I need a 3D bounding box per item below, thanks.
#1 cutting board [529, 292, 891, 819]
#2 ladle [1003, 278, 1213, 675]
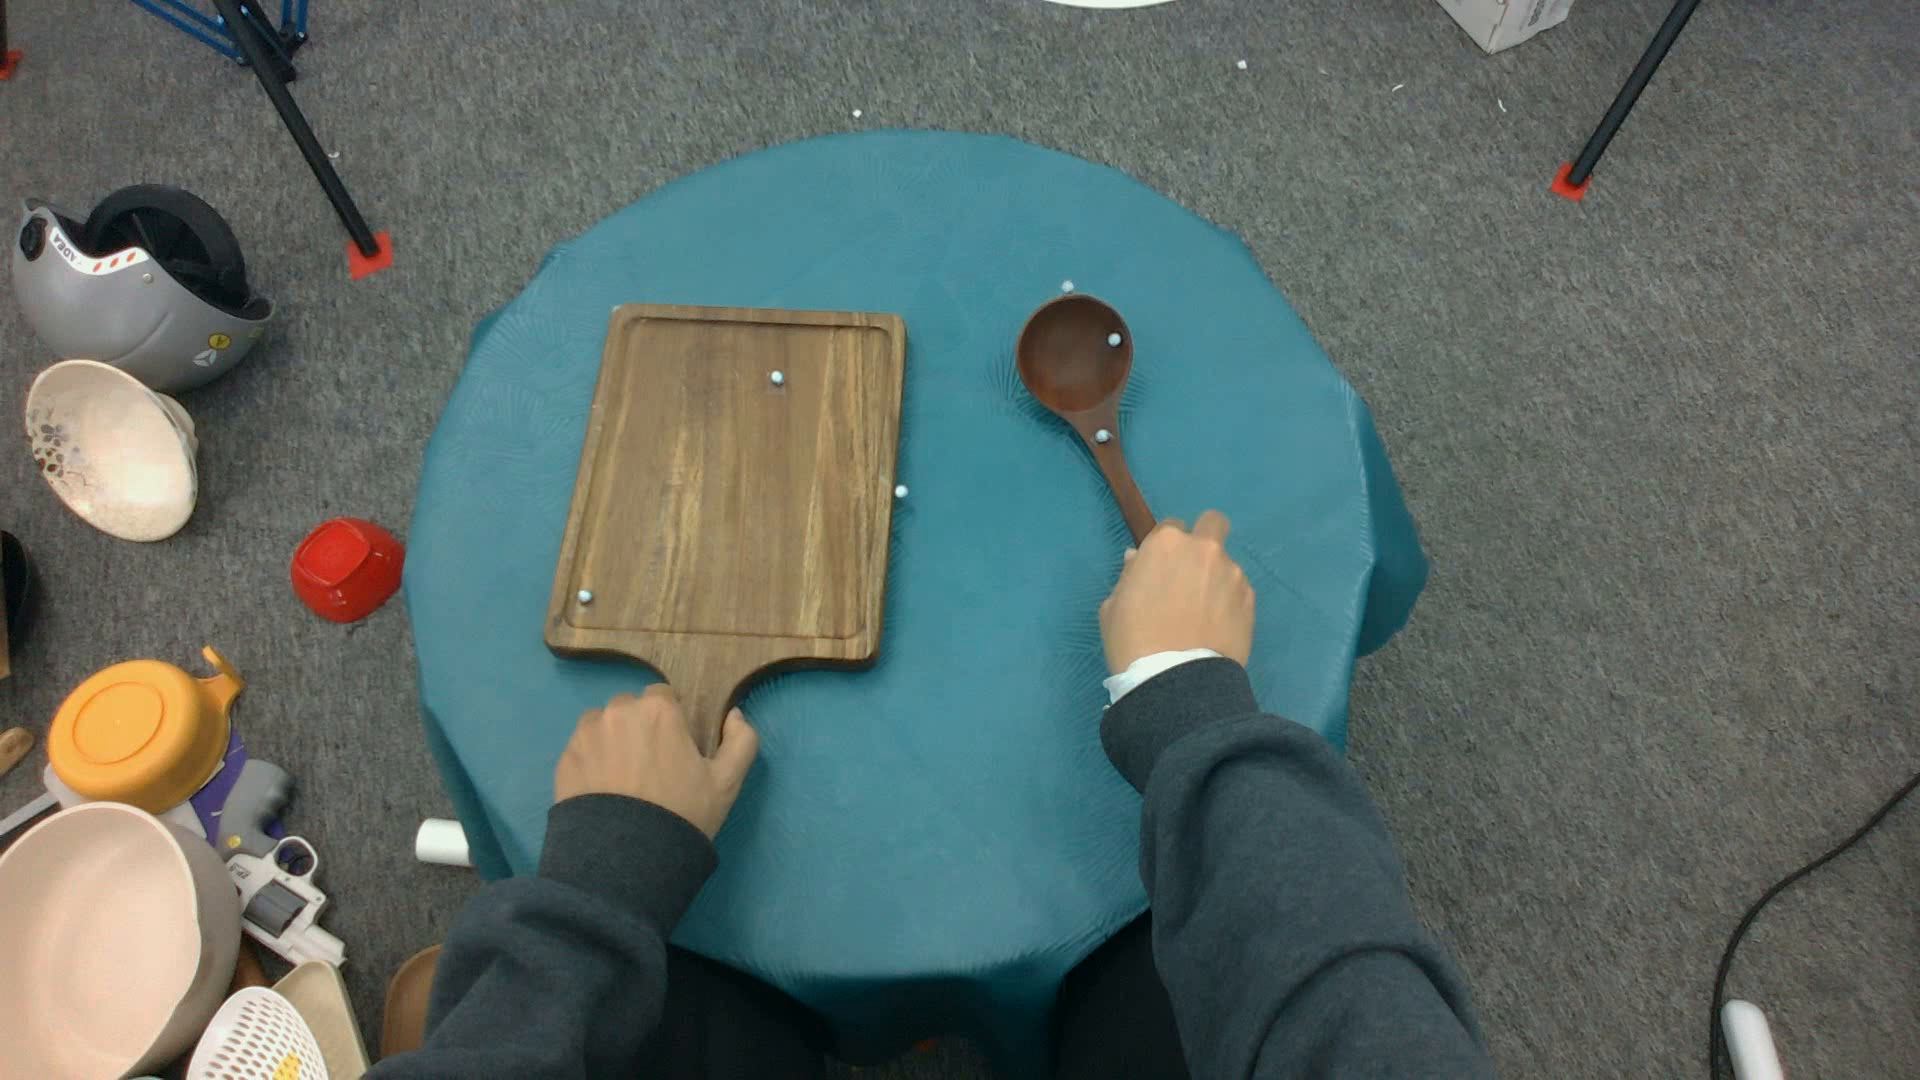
[{"bbox_3d":[-0.149,-0.006,0.830,0.201,0.023,0.353,2,62,2],"label":"cutting board"},{"bbox_3d":[0.094,-0.043,0.829,0.076,0.065,0.261,-21,65,3],"label":"ladle"}]
